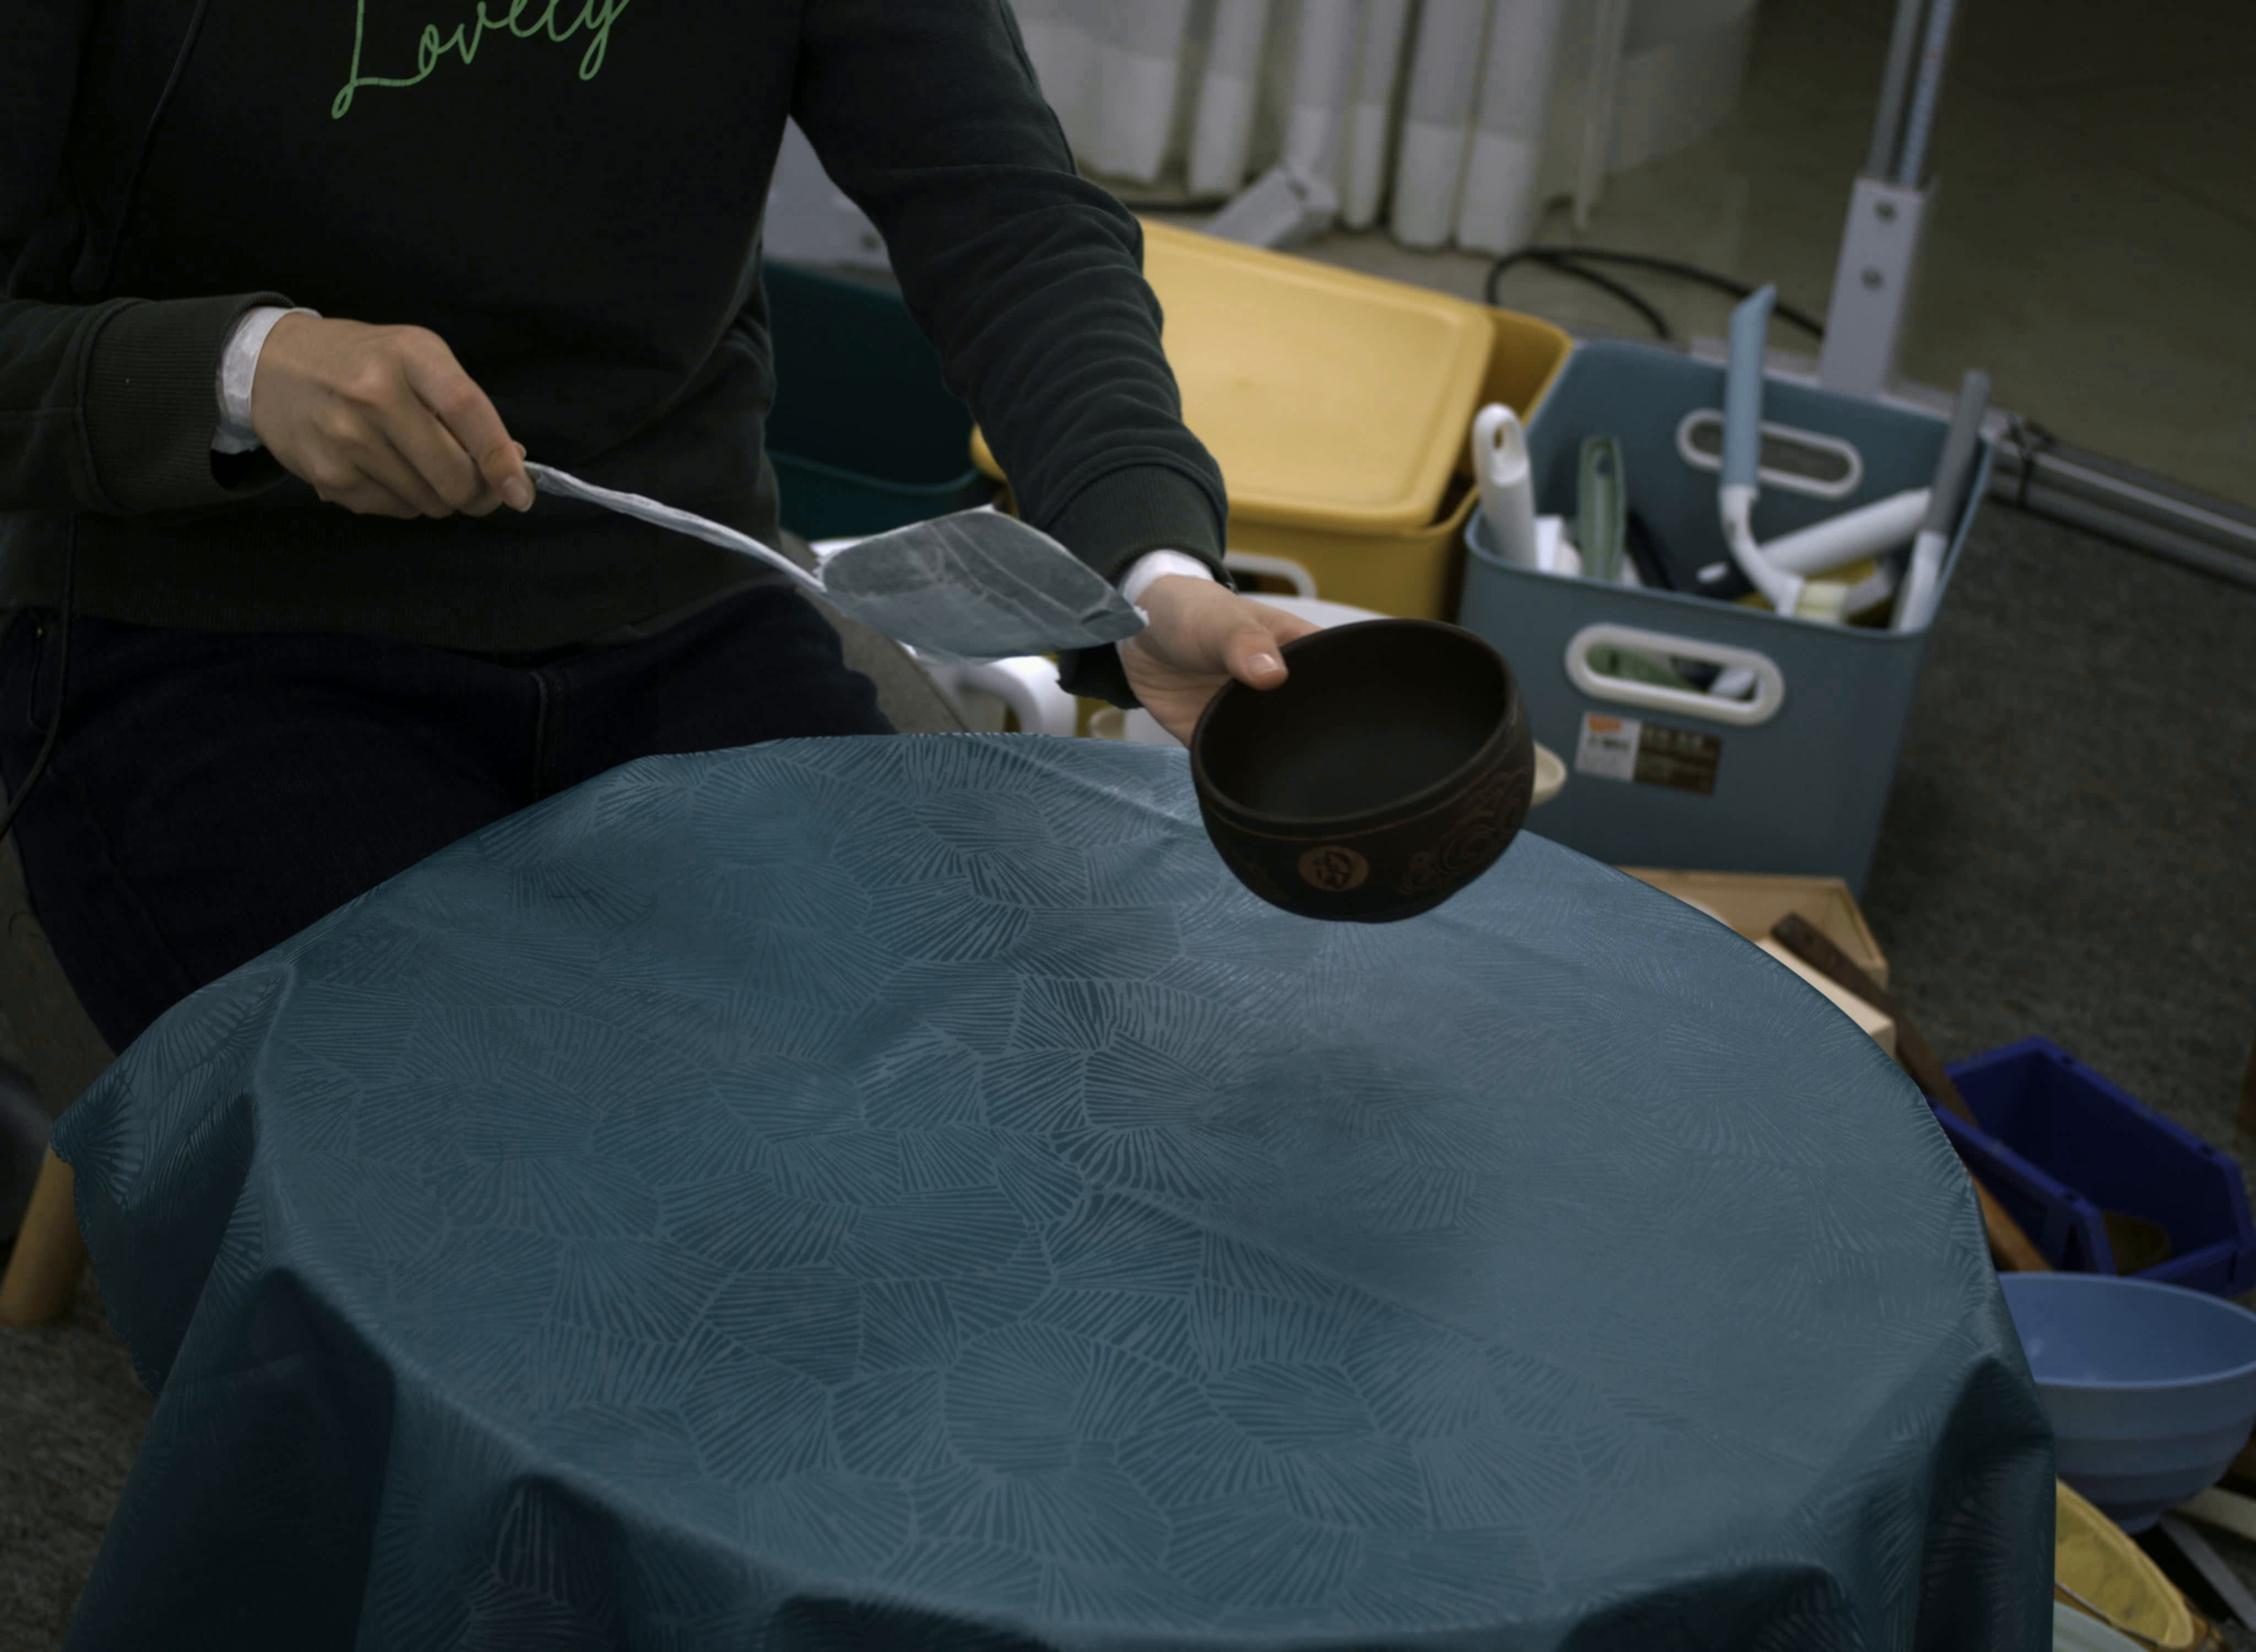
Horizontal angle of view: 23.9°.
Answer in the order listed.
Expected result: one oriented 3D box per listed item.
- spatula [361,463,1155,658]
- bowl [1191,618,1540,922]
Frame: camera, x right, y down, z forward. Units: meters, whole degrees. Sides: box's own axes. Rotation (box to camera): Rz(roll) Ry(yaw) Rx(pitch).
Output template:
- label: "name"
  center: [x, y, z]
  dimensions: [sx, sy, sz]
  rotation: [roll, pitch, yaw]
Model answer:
- label: "spatula"
  center: [-0.147, -0.105, 1.841]
  dimensions: [0.367, 0.045, 0.098]
  rotation: [17, -11, 41]
- label: "bowl"
  center: [0.085, -0.011, 1.826]
  dimensions: [0.118, 0.069, 0.119]
  rotation: [-12, 33, 7]
